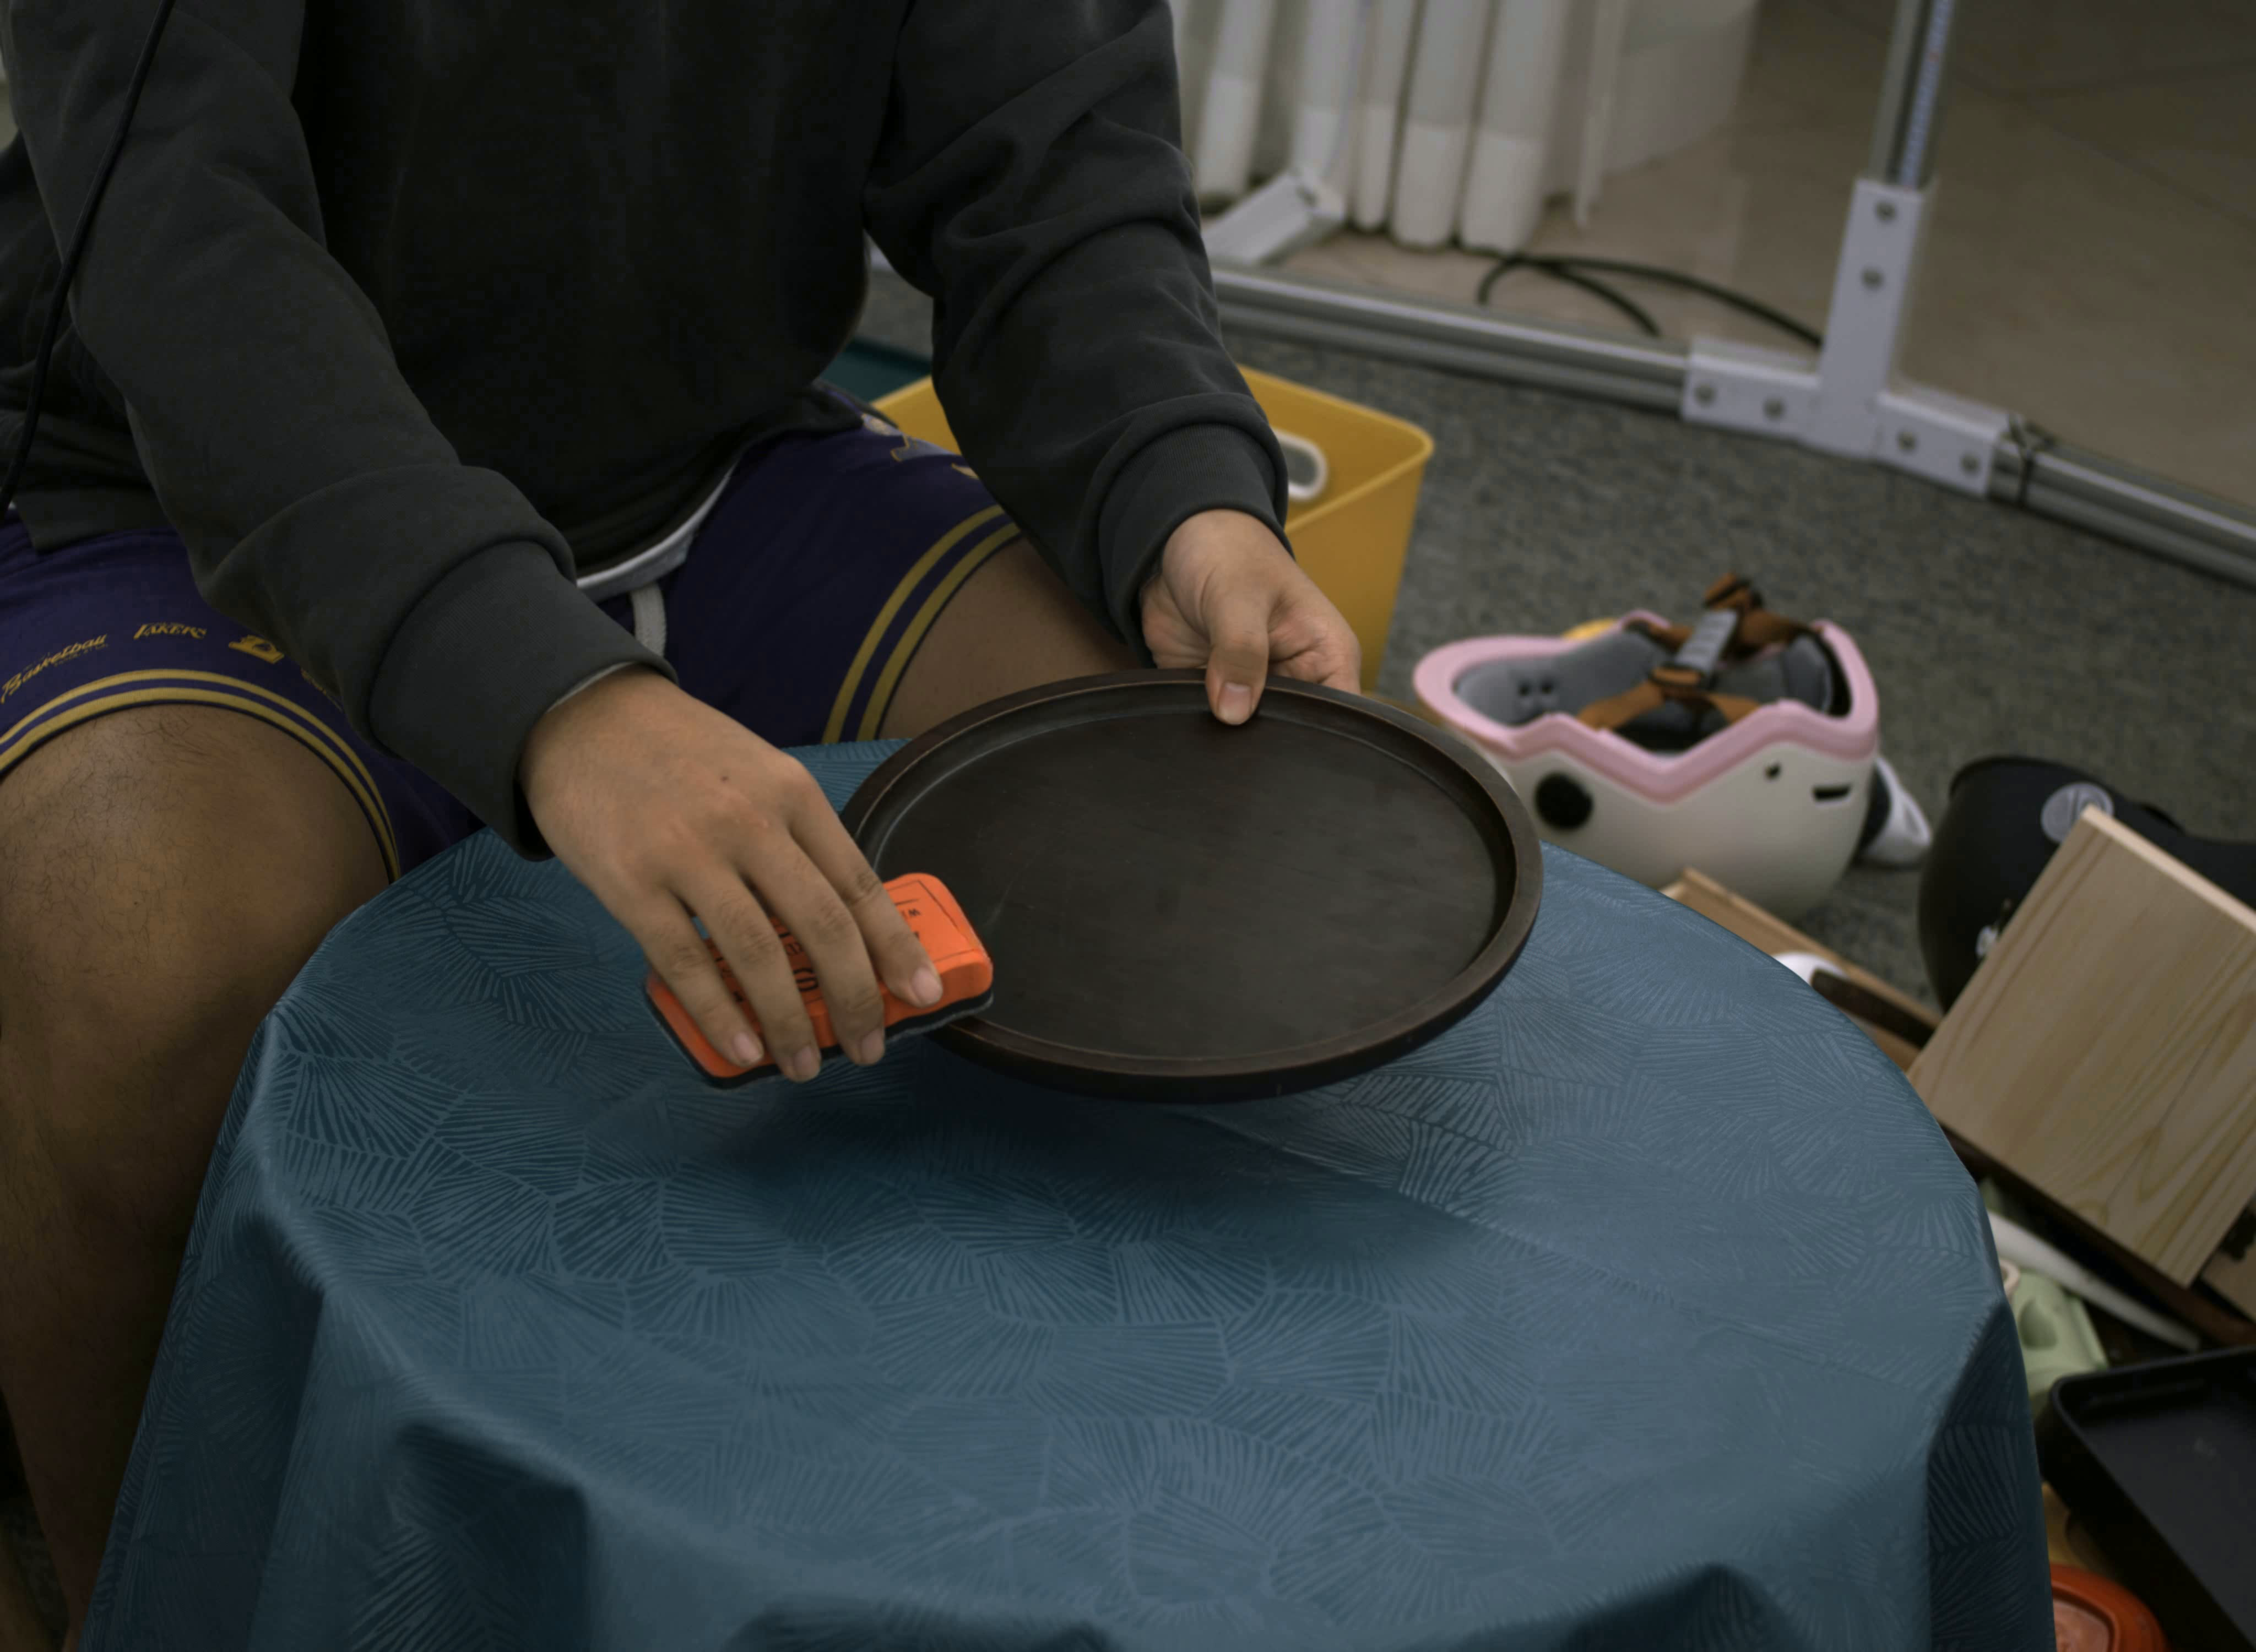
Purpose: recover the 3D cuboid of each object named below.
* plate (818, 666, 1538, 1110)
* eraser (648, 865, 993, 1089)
[{"bbox_3d":[0.018,0.020,1.870,0.254,0.029,0.256,-2,34,1],"label":"plate"},{"bbox_3d":[-0.103,0.050,1.785,0.107,0.023,0.059,-19,37,-18],"label":"eraser"}]
